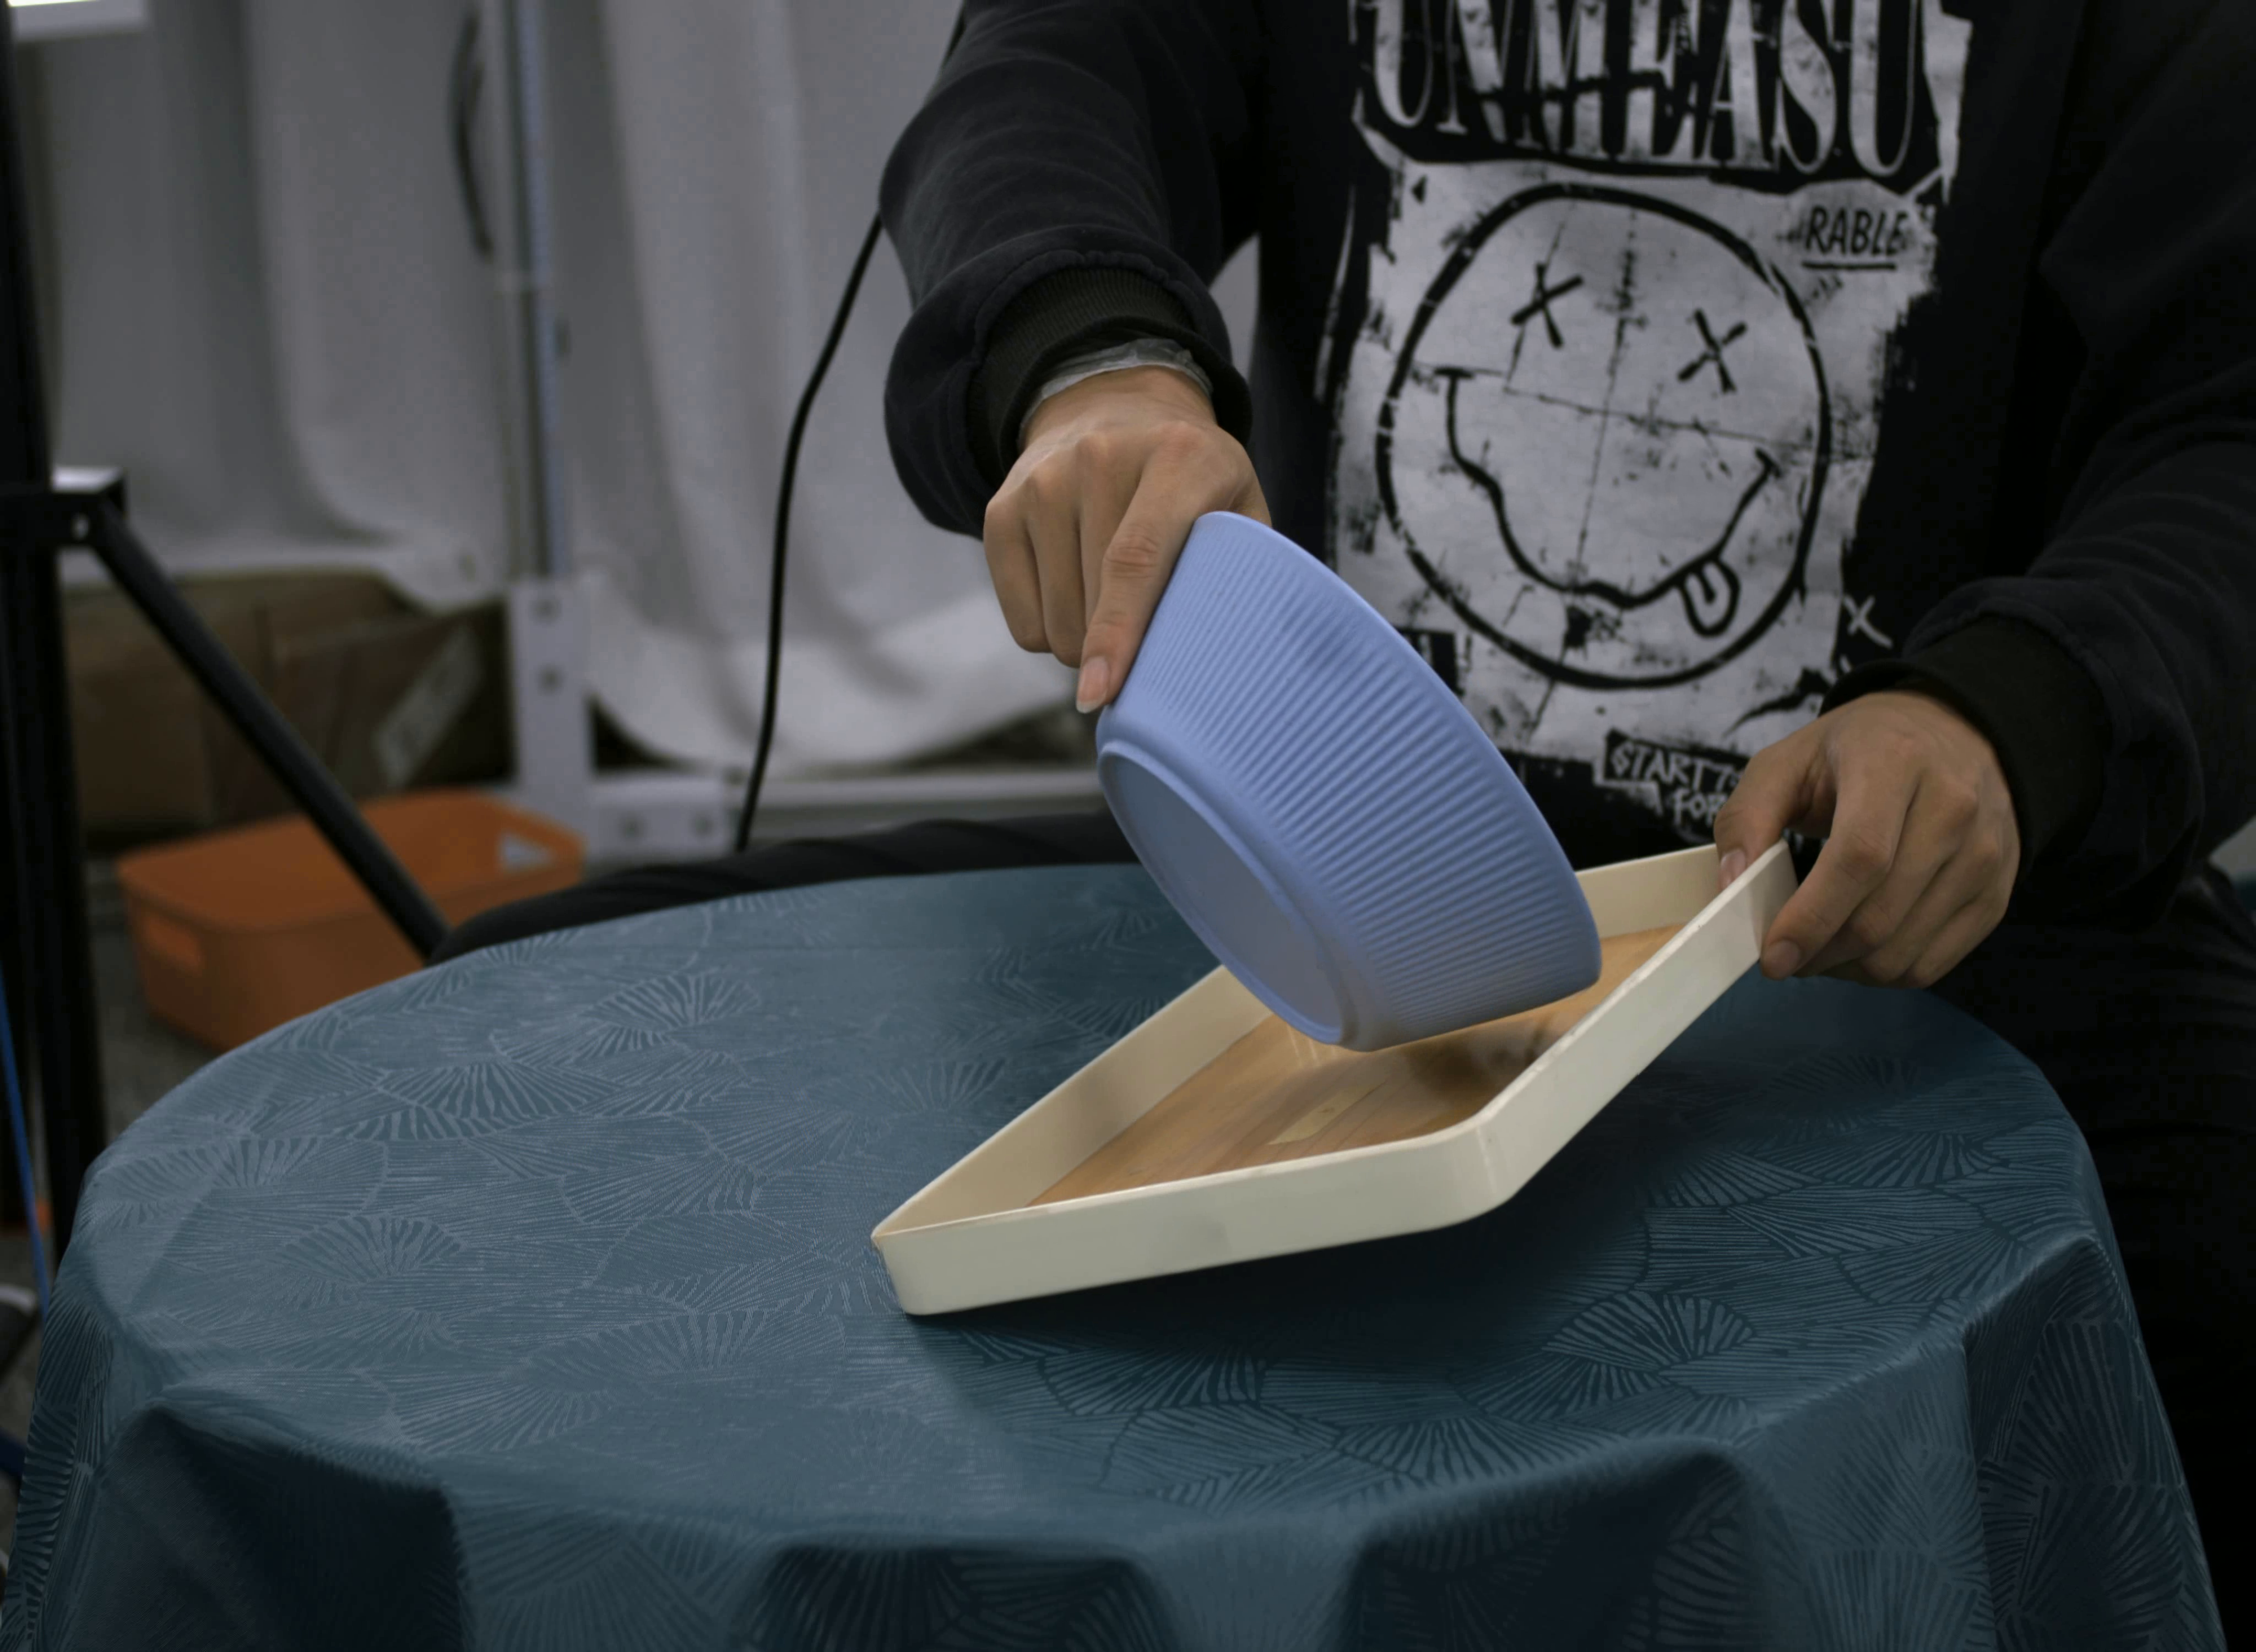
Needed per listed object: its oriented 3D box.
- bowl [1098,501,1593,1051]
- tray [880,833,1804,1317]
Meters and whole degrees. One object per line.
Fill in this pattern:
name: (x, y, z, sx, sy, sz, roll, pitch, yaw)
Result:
bowl: (0.051, -0.002, 1.510, 0.070, 0.174, 0.179, -37, 26, -13)
tray: (0.070, 0.070, 1.545, 0.194, 0.027, 0.296, -12, 10, 28)
